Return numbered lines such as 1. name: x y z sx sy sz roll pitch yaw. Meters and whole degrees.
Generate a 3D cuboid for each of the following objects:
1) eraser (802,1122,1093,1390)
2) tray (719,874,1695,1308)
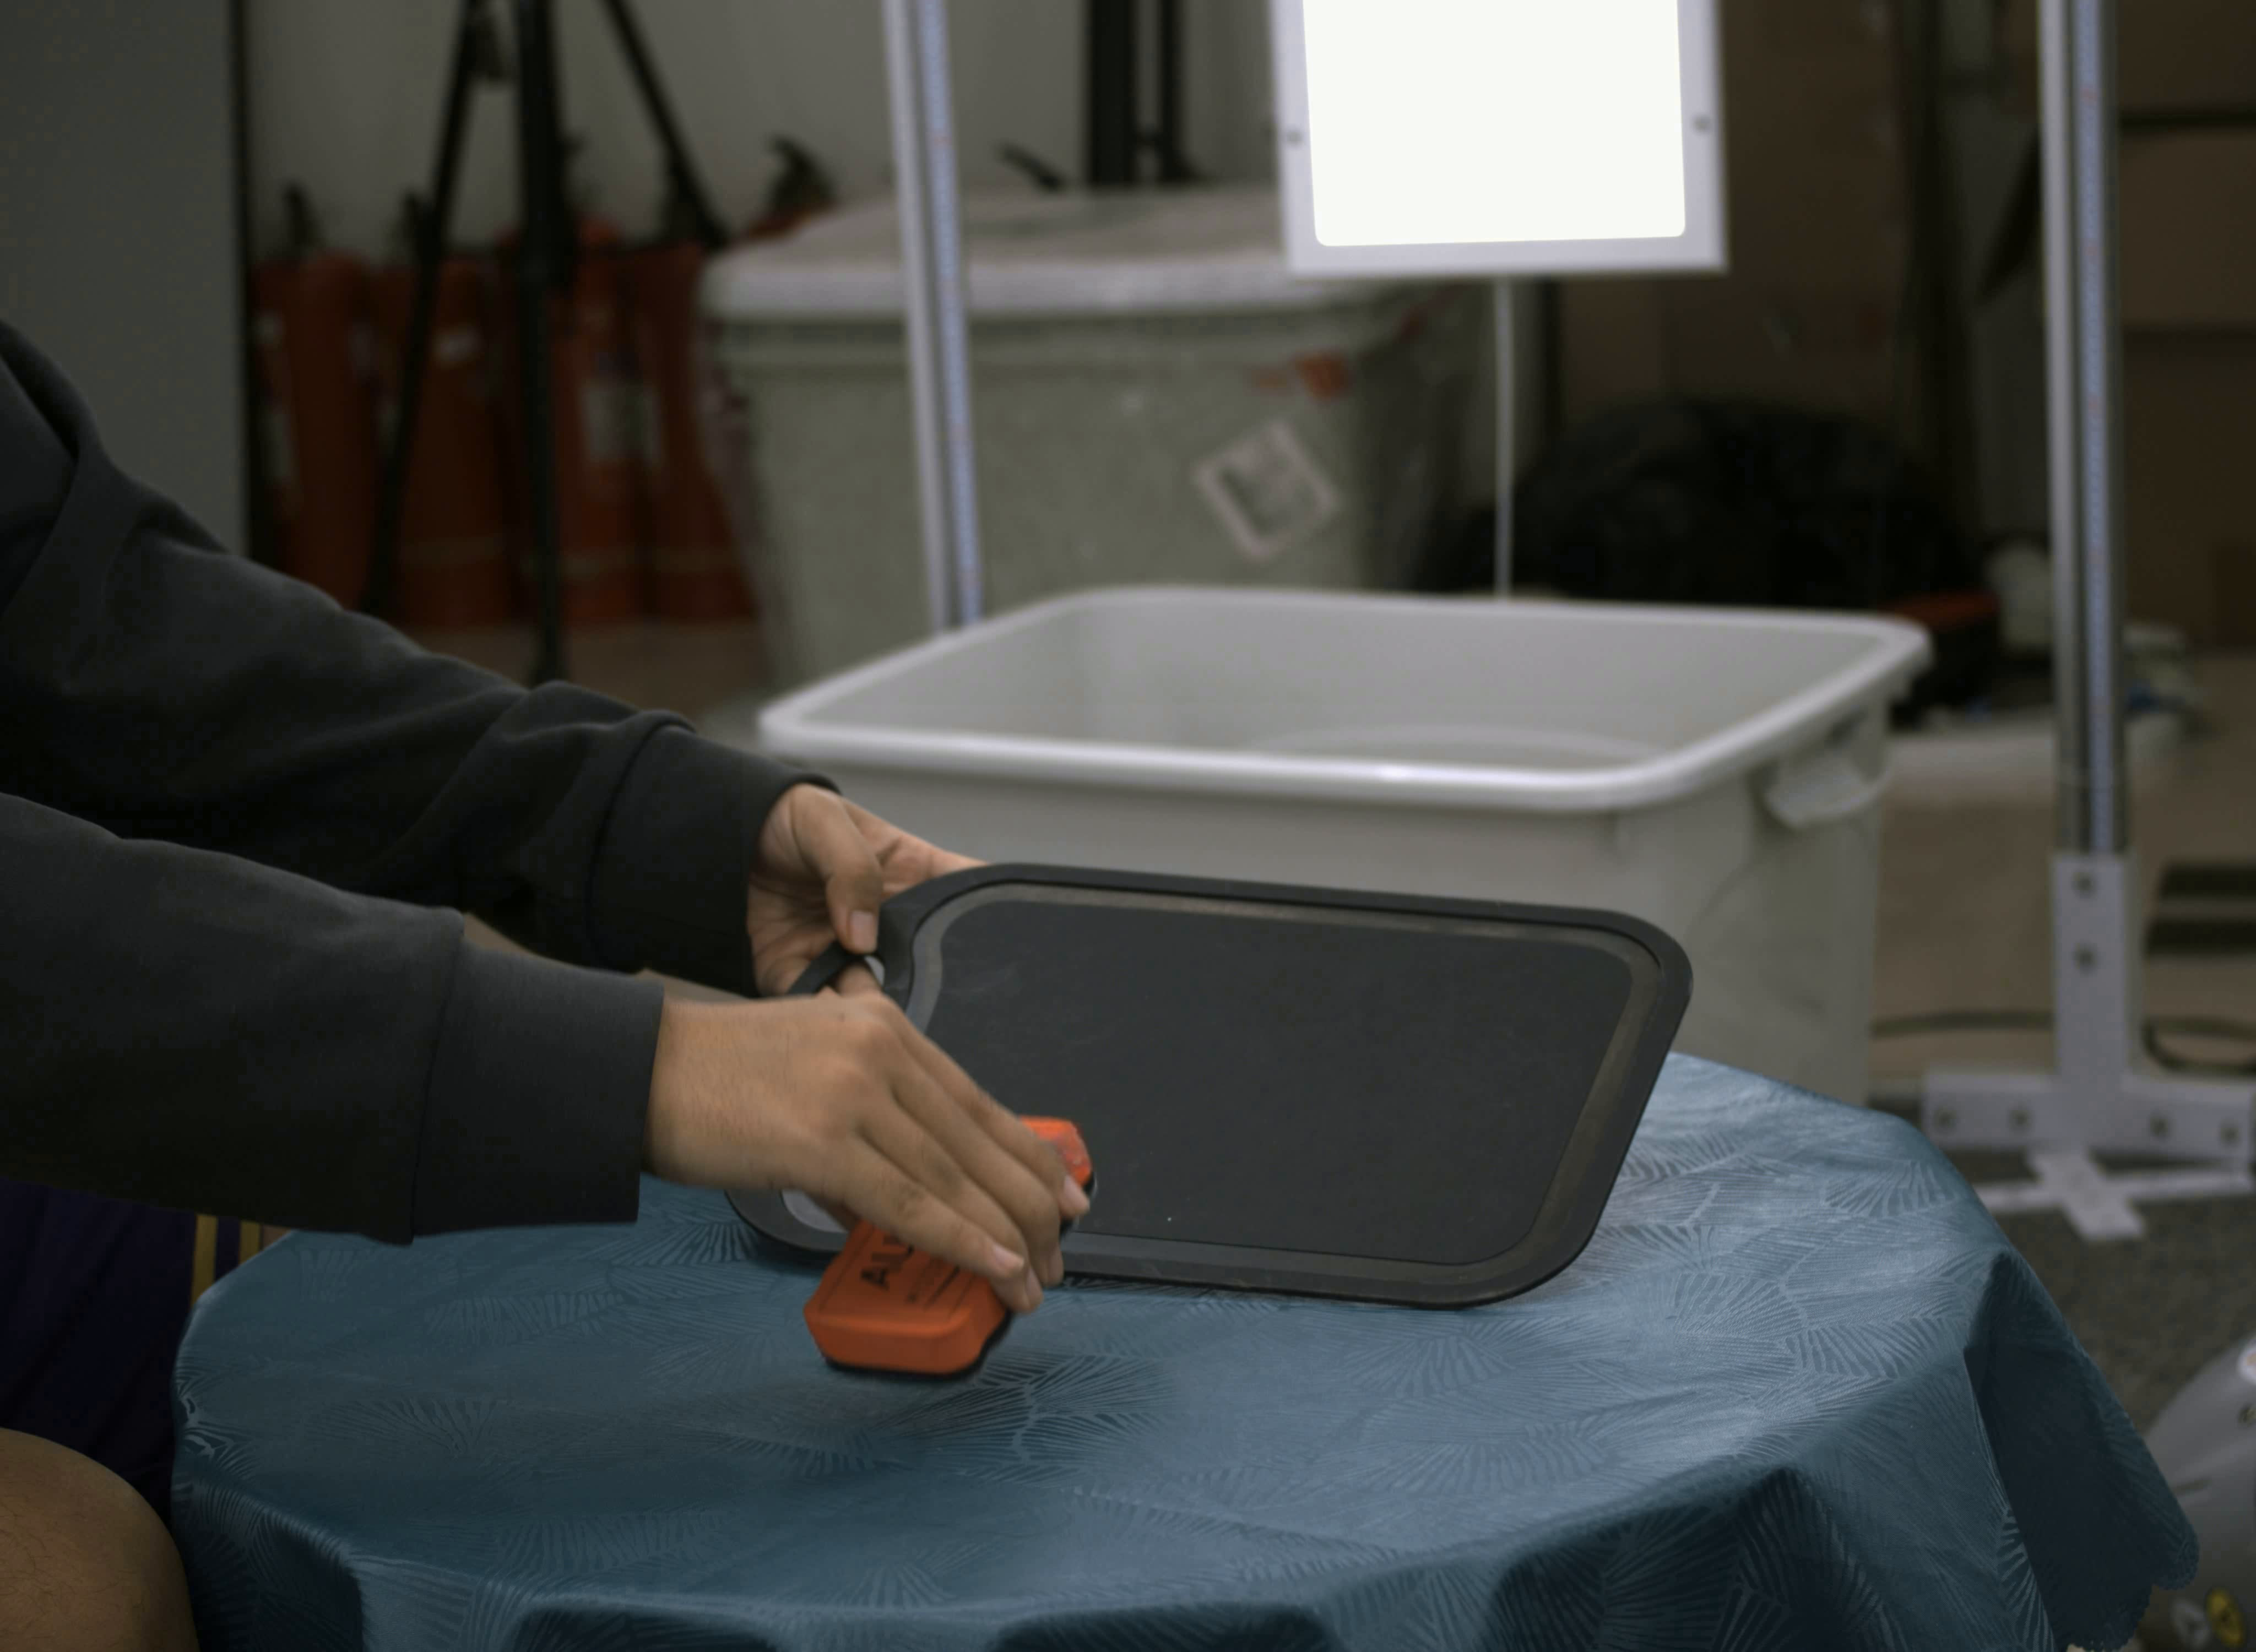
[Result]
1. eraser: -0.055 0.132 1.706 0.060 0.023 0.106 2 34 26
2. tray: 0.020 0.085 1.872 0.330 0.010 0.208 4 38 24
